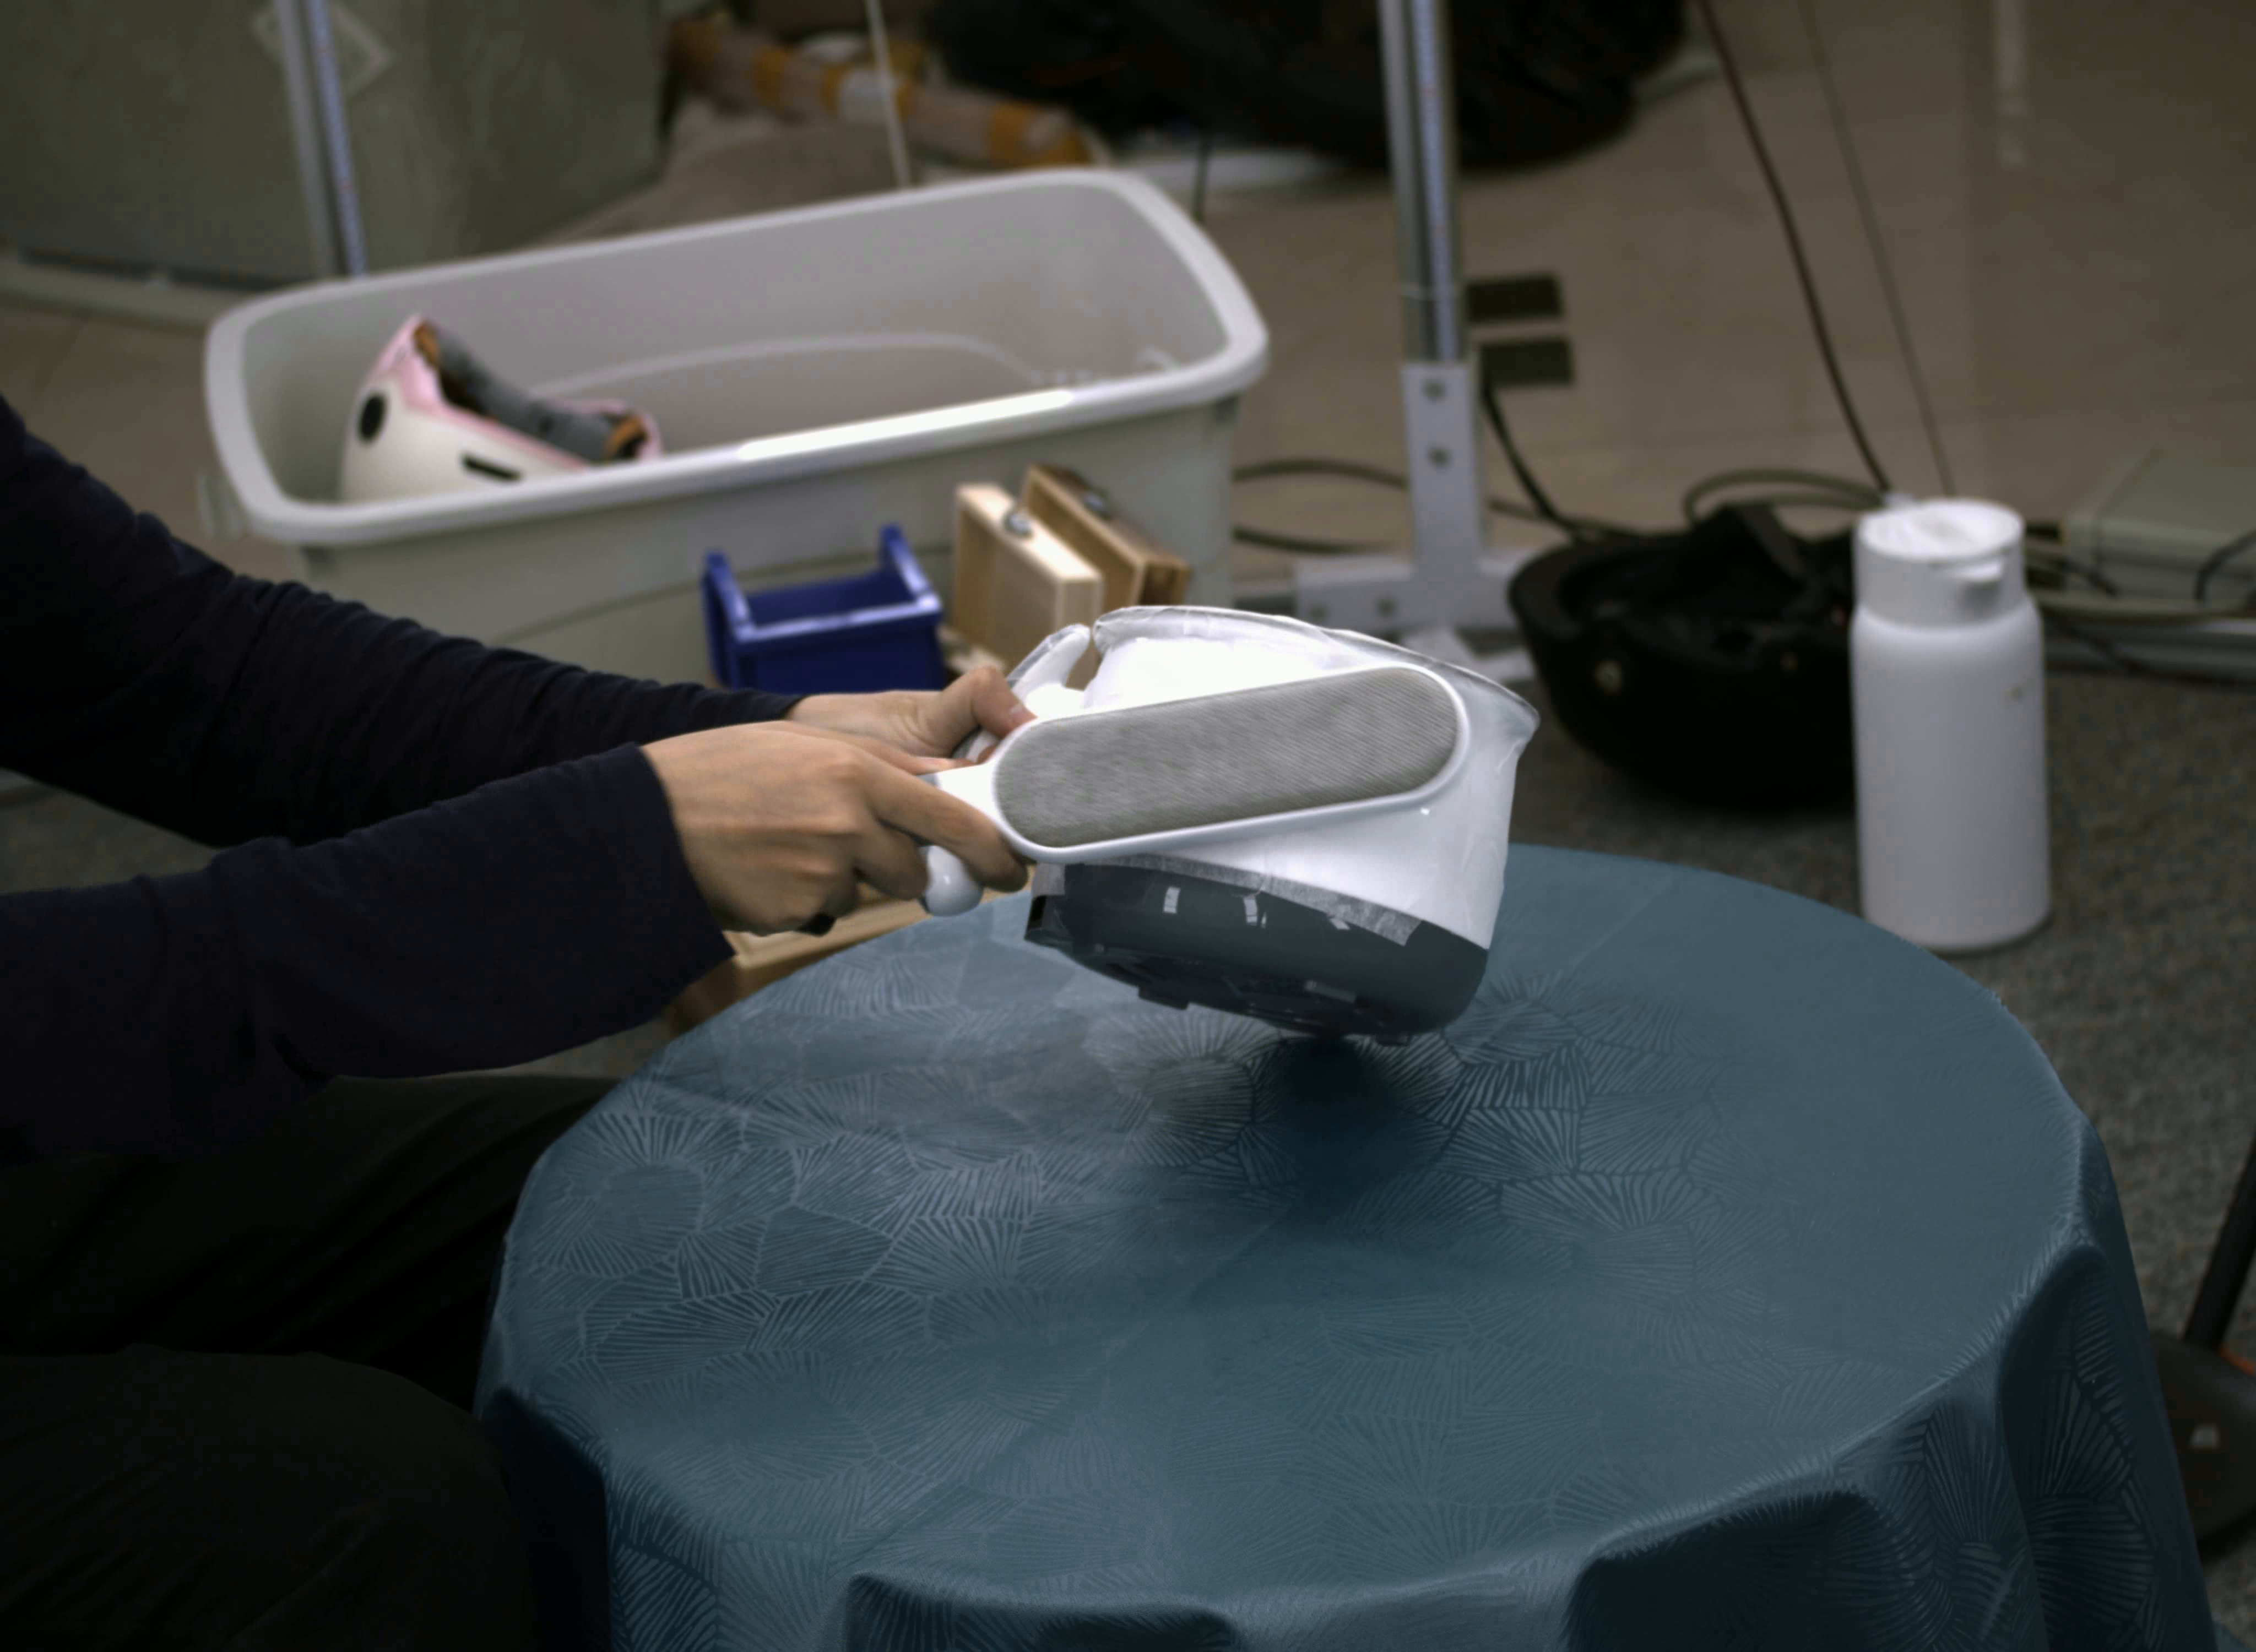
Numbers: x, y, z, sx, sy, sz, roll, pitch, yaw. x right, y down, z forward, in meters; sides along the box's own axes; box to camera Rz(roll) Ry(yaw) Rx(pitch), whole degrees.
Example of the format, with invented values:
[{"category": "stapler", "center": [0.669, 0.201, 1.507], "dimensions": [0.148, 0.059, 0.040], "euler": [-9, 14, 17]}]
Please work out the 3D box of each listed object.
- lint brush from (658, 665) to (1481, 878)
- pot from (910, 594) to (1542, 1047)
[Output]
[{"category": "lint brush", "center": [-0.022, -0.015, 2.091], "dimensions": [0.308, 0.060, 0.021], "euler": [-8, -11, 4]}, {"category": "pot", "center": [0.033, -0.005, 2.190], "dimensions": [0.233, 0.136, 0.180], "euler": [11, -11, 18]}]
